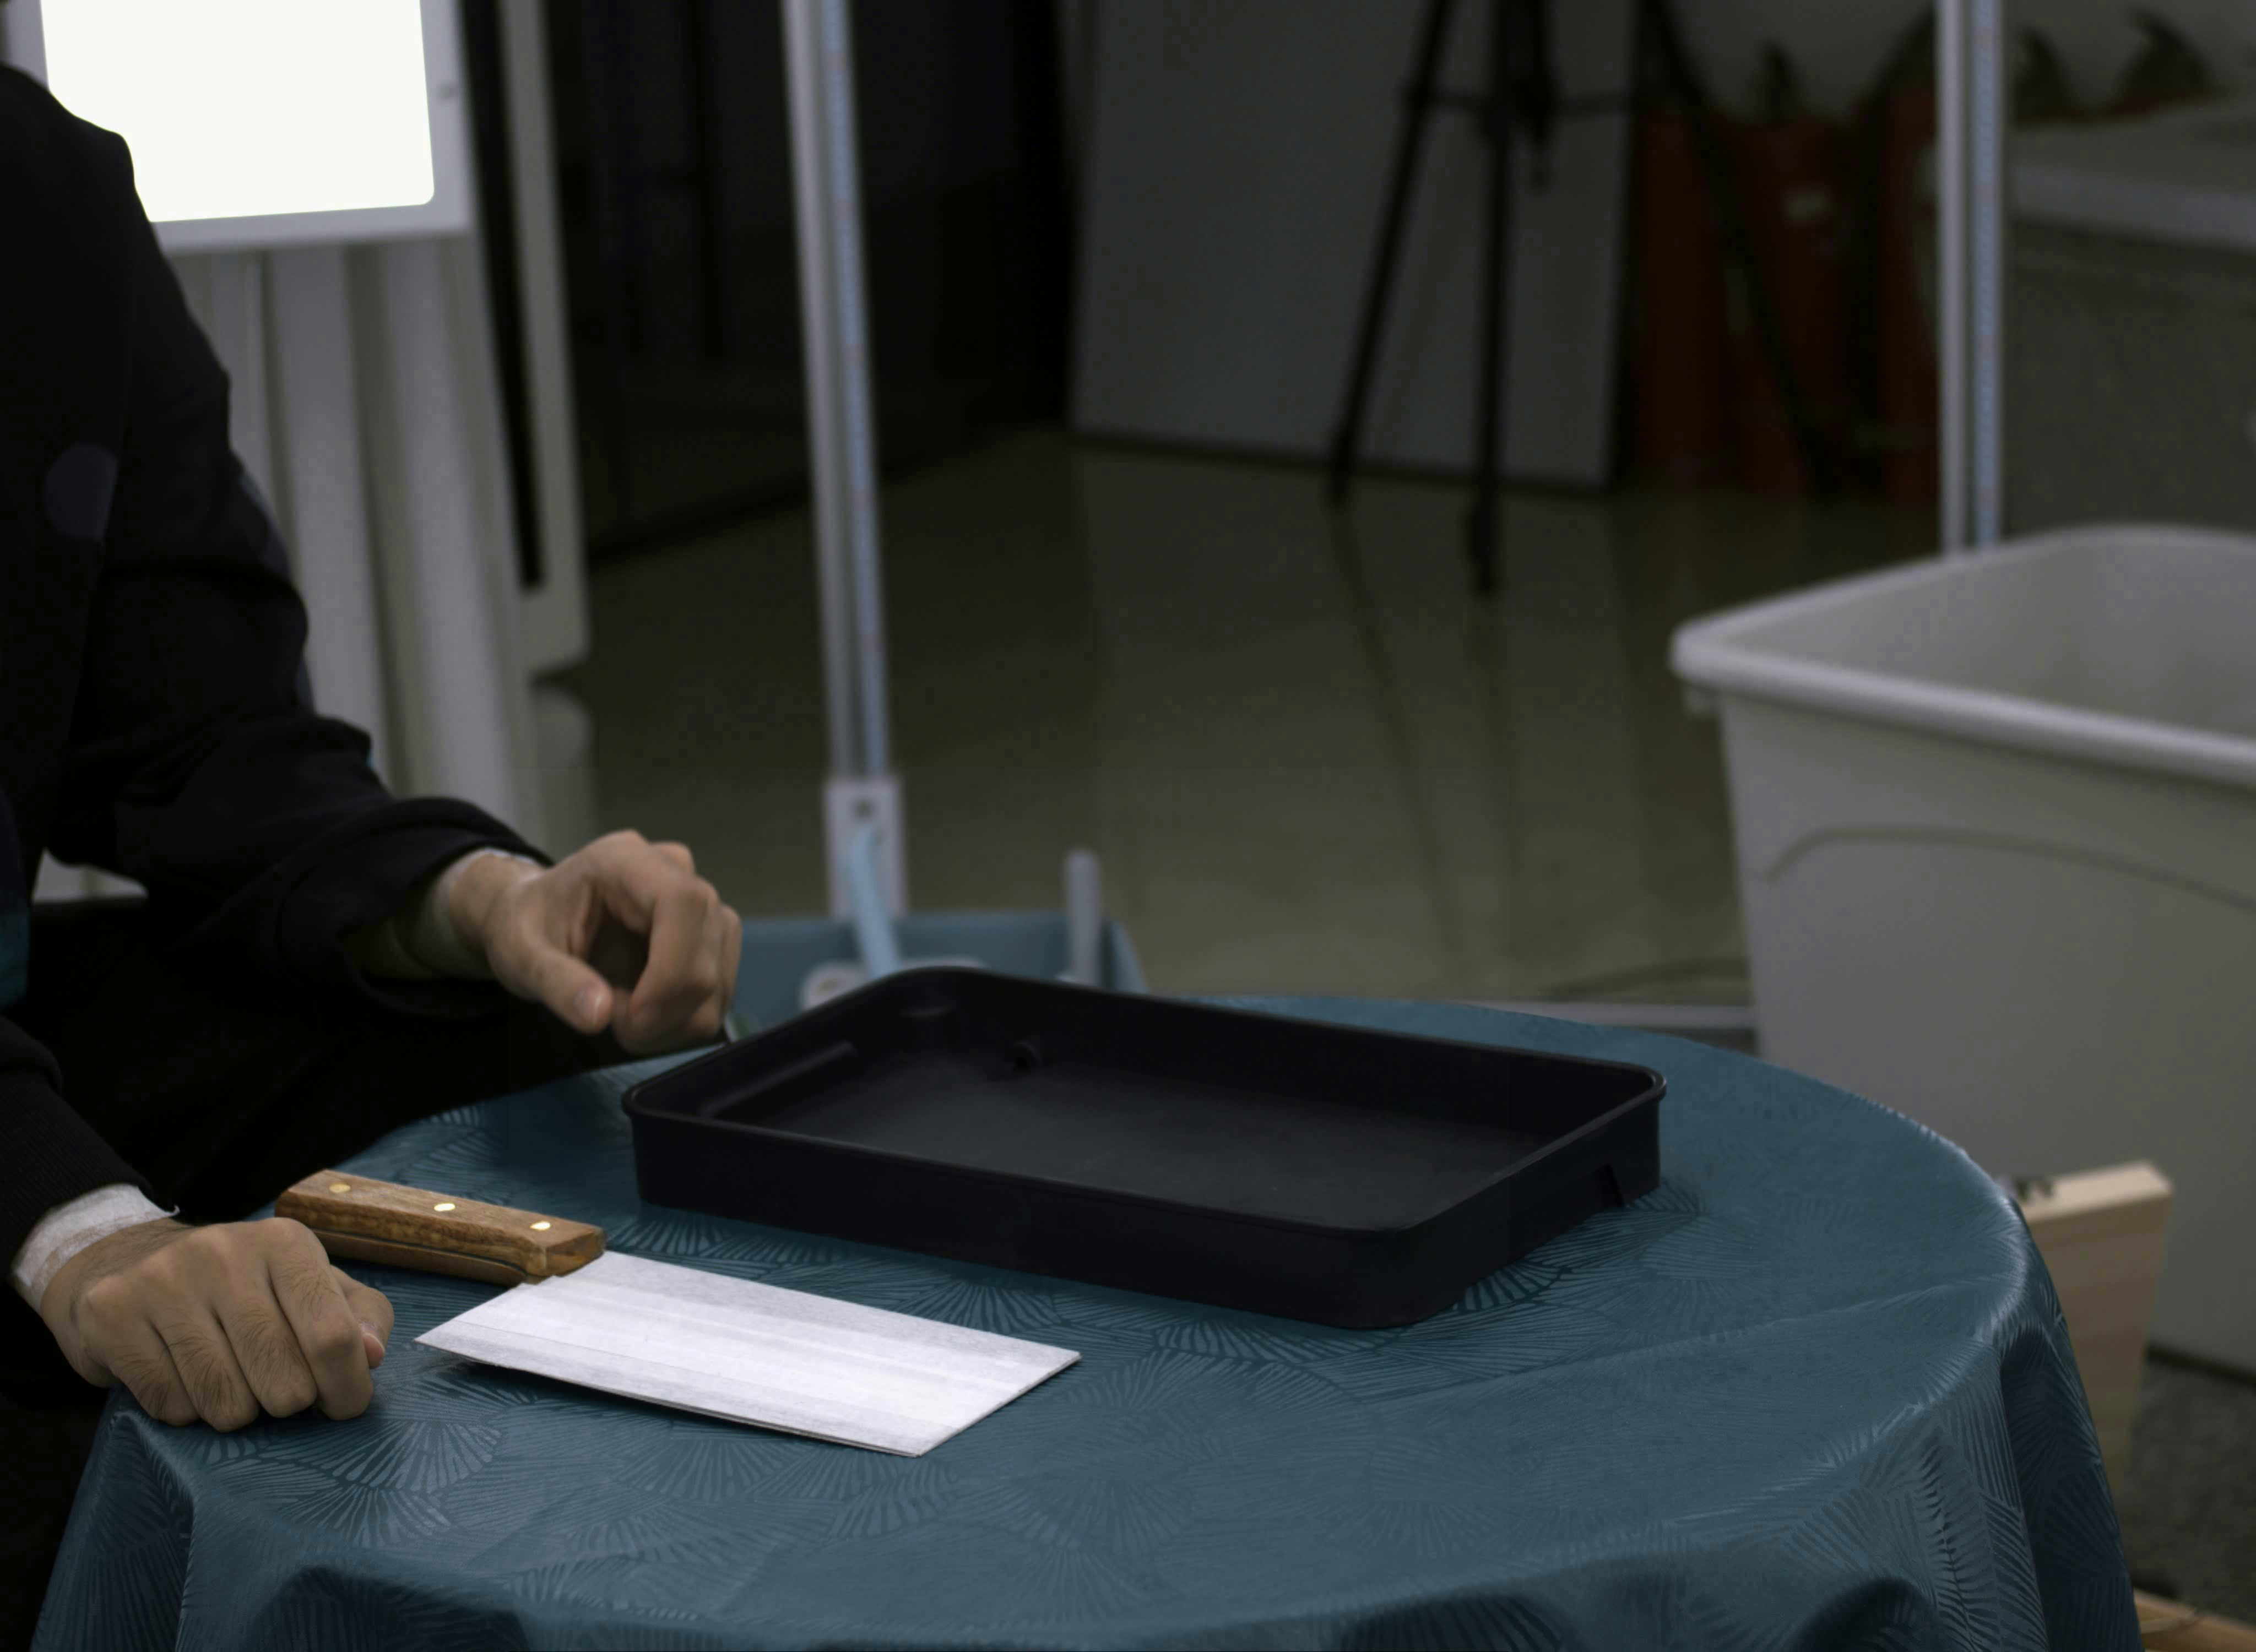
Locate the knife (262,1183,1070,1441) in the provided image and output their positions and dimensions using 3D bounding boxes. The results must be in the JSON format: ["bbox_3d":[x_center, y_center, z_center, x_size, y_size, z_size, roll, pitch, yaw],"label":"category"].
[{"bbox_3d":[-0.162,0.152,1.664,0.307,0.021,0.091,8,20,34],"label":"knife"}]

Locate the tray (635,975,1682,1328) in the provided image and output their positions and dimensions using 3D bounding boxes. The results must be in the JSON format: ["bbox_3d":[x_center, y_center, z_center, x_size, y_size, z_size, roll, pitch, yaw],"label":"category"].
[{"bbox_3d":[0.009,0.103,1.767,0.320,0.037,0.181,5,17,34],"label":"tray"}]
